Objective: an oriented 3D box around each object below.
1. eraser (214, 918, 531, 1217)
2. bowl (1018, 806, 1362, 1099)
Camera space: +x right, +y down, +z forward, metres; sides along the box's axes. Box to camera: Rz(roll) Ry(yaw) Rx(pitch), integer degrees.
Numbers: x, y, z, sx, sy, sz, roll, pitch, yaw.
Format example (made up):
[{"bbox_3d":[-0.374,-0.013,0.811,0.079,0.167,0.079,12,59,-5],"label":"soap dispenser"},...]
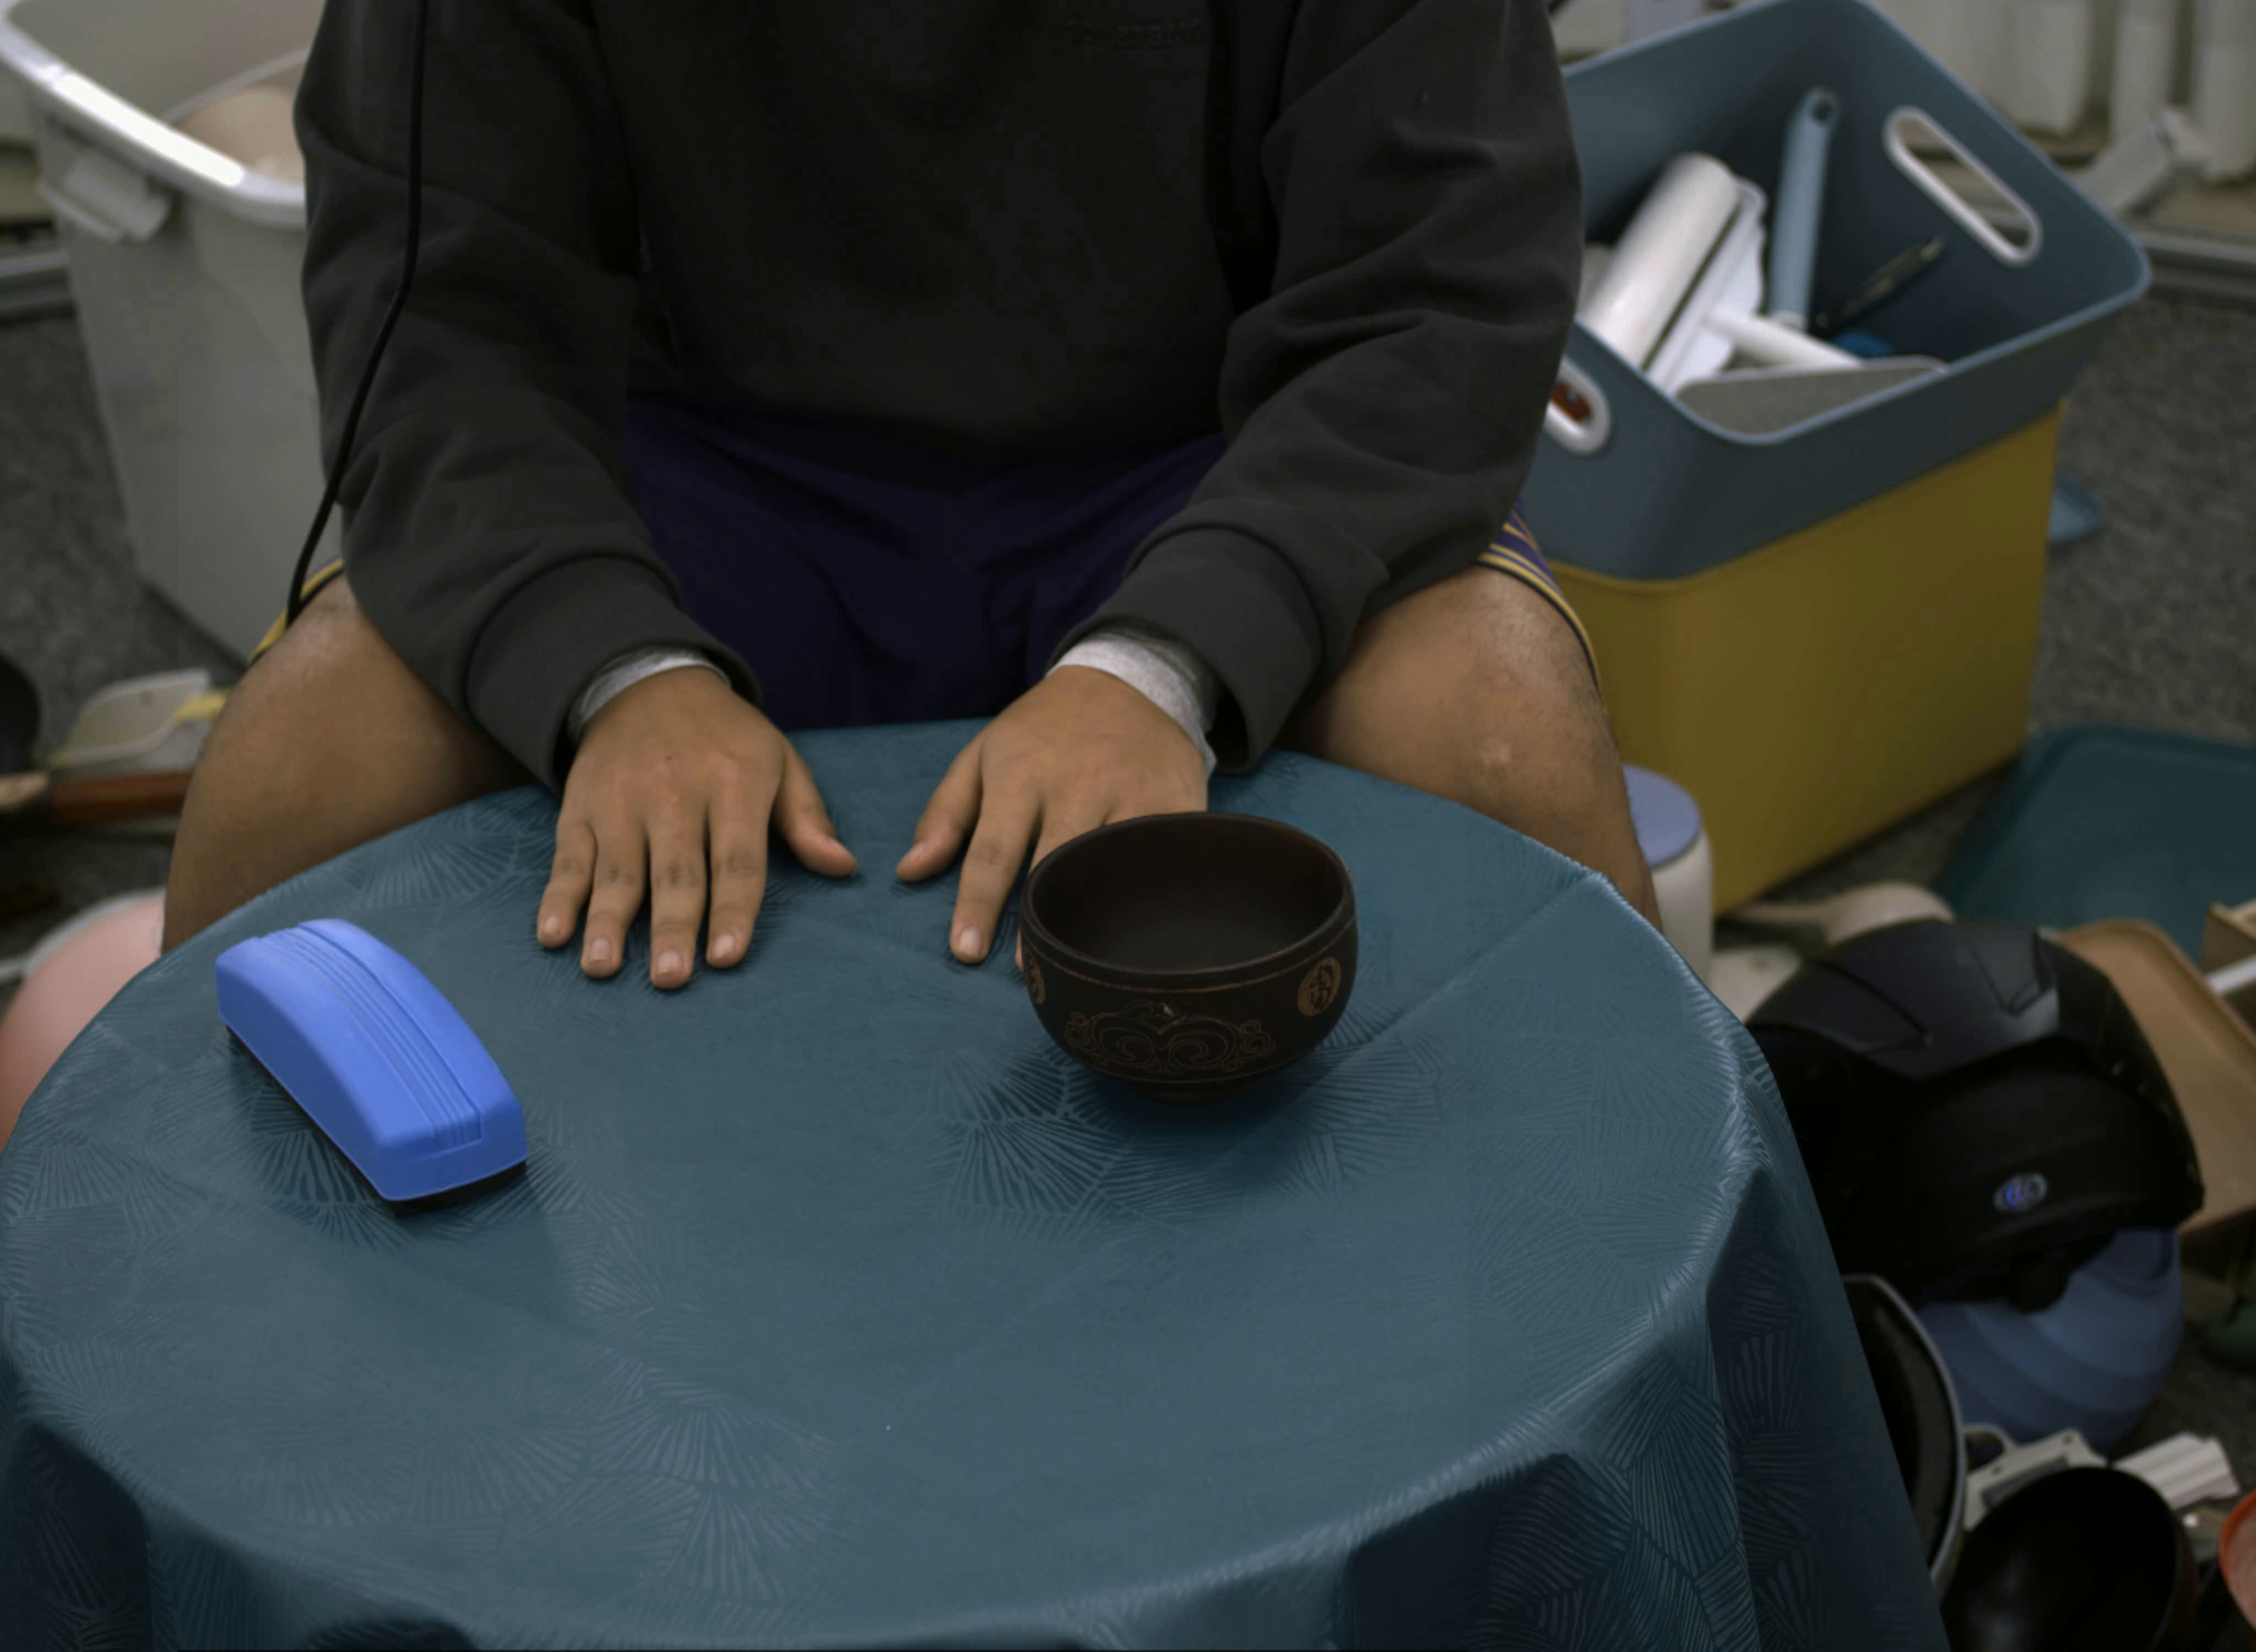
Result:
[{"bbox_3d":[-0.262,0.077,1.926,0.054,0.047,0.163,-19,32,-25],"label":"eraser"},{"bbox_3d":[0.022,0.050,1.919,0.117,0.069,0.120,-3,26,2],"label":"bowl"}]
